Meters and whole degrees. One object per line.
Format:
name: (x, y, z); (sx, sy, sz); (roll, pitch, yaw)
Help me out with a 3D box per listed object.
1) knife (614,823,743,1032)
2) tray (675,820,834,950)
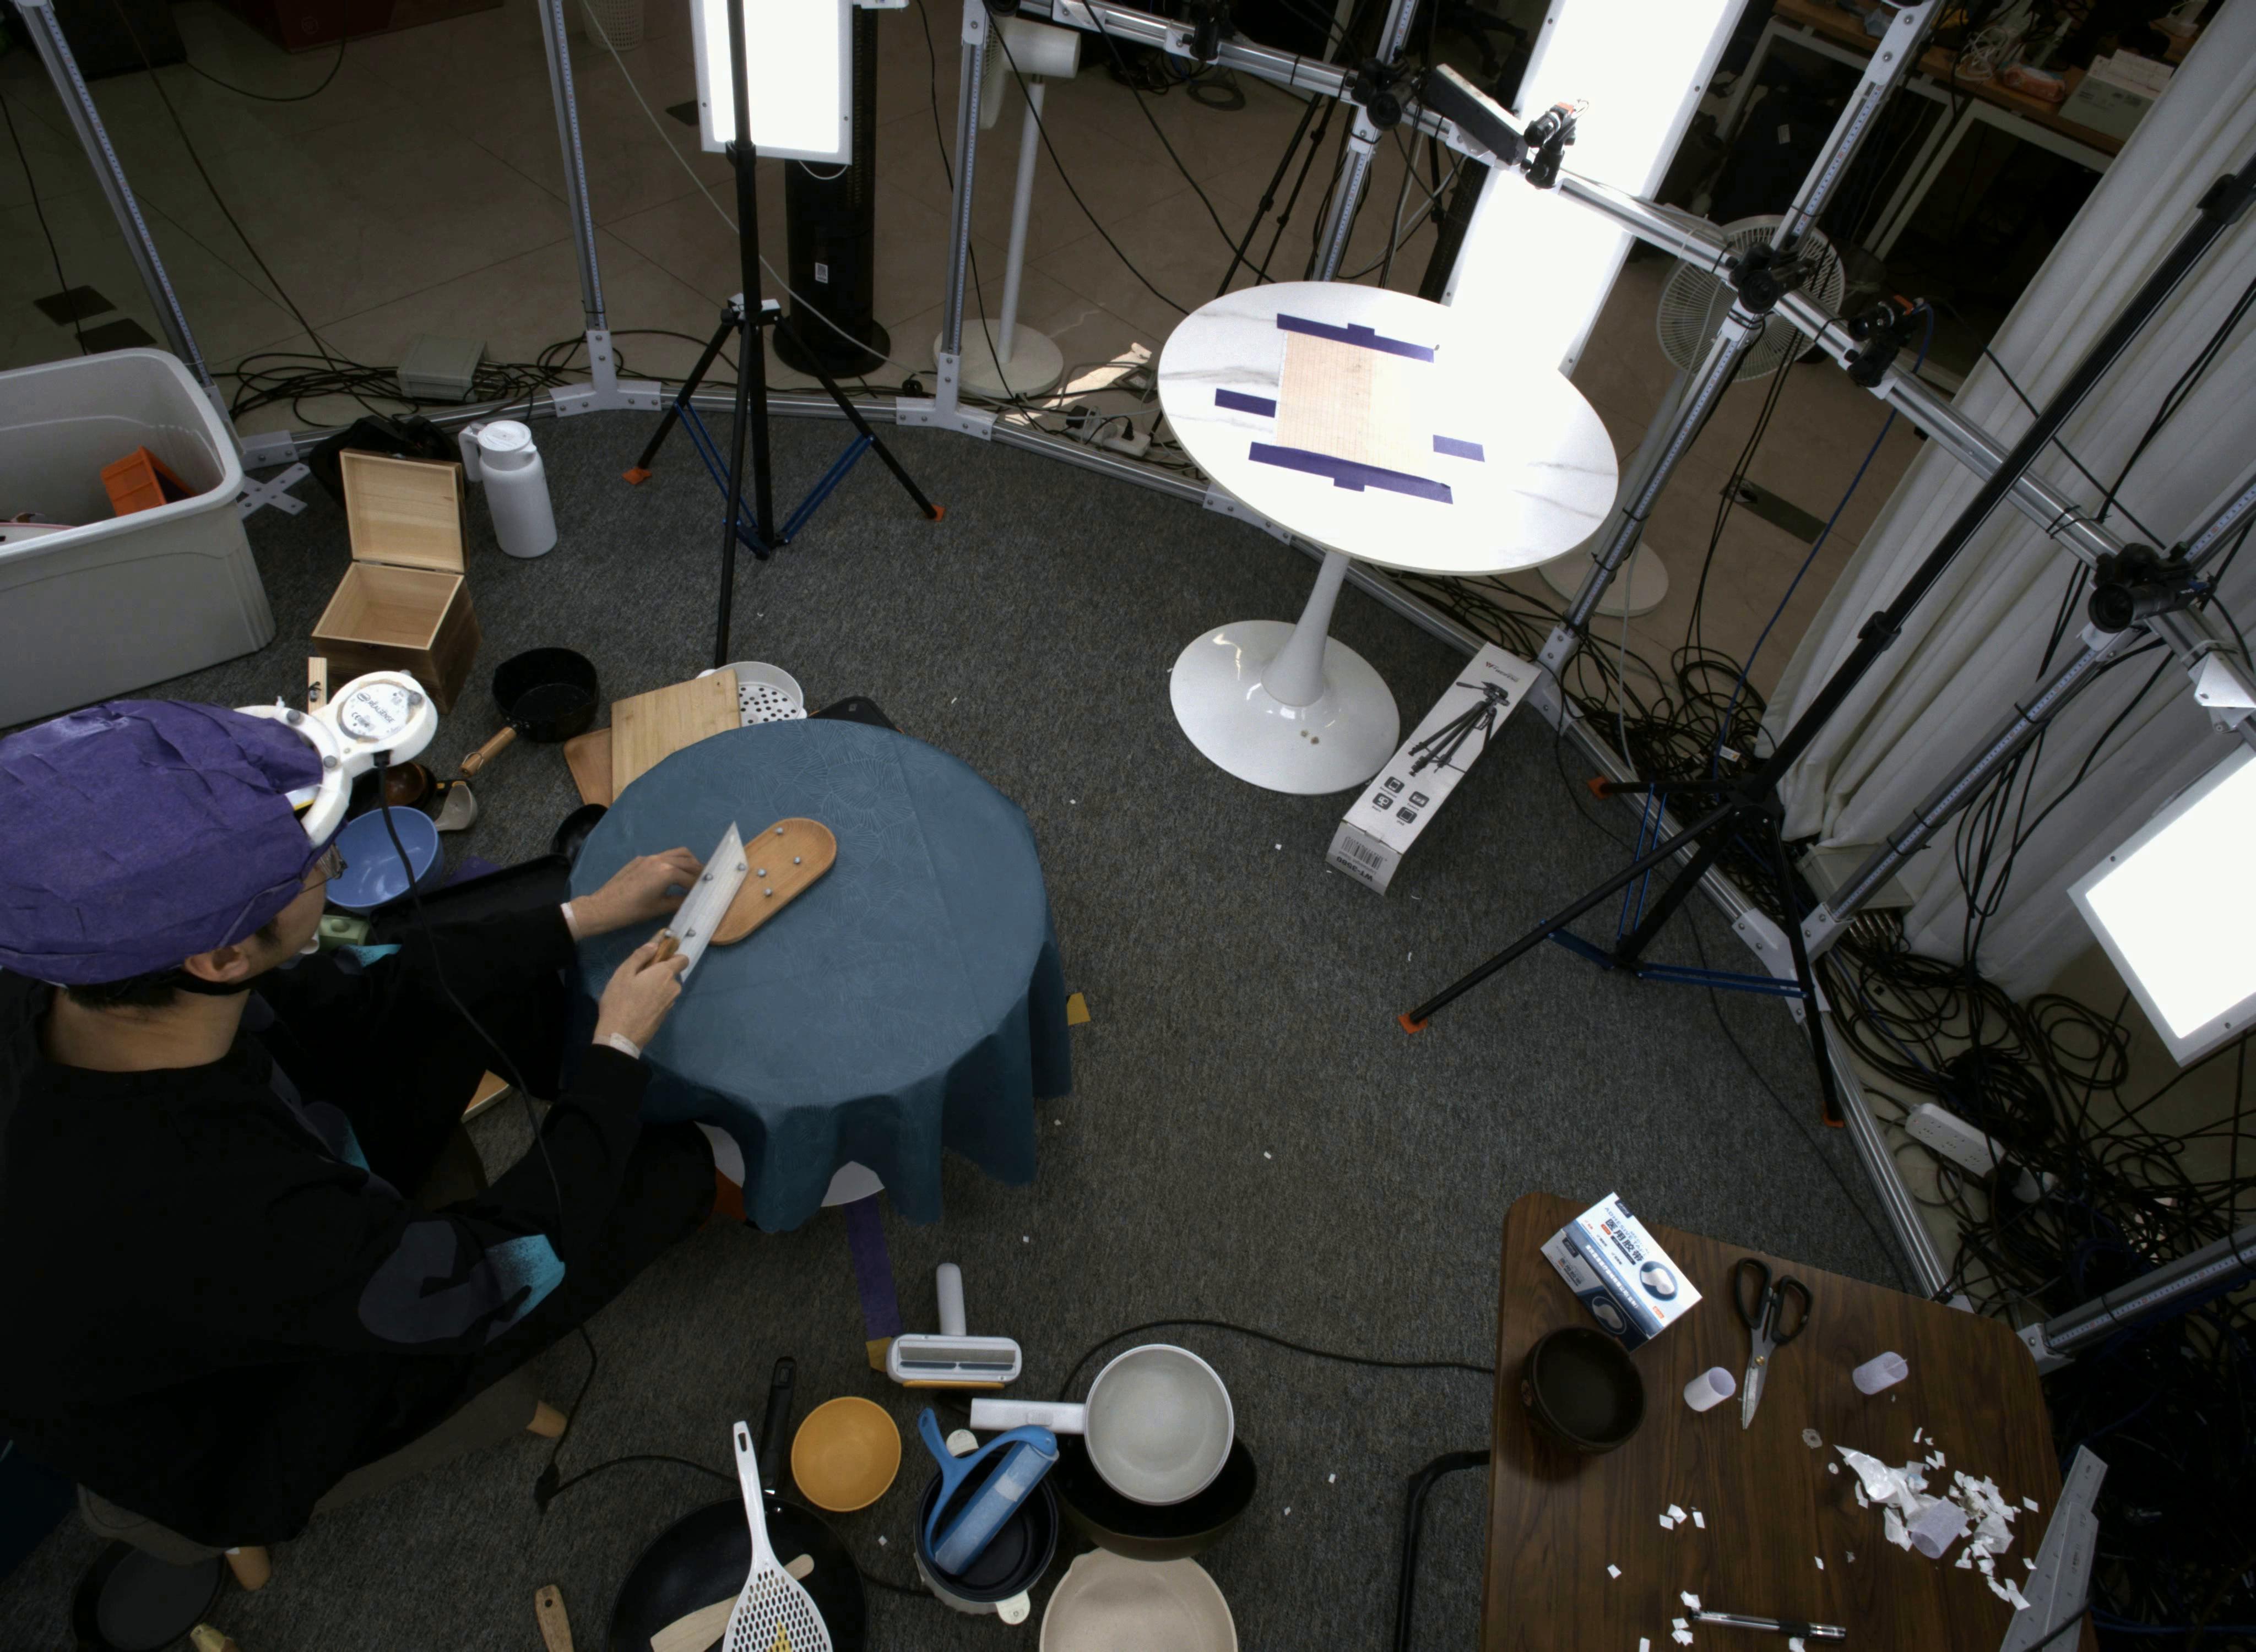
knife: (-0.516, 0.126, 1.501); (0.020, 0.096, 0.301); (8, 45, 9)
tray: (-0.470, 0.071, 1.637); (0.099, 0.021, 0.231); (35, 54, 15)
